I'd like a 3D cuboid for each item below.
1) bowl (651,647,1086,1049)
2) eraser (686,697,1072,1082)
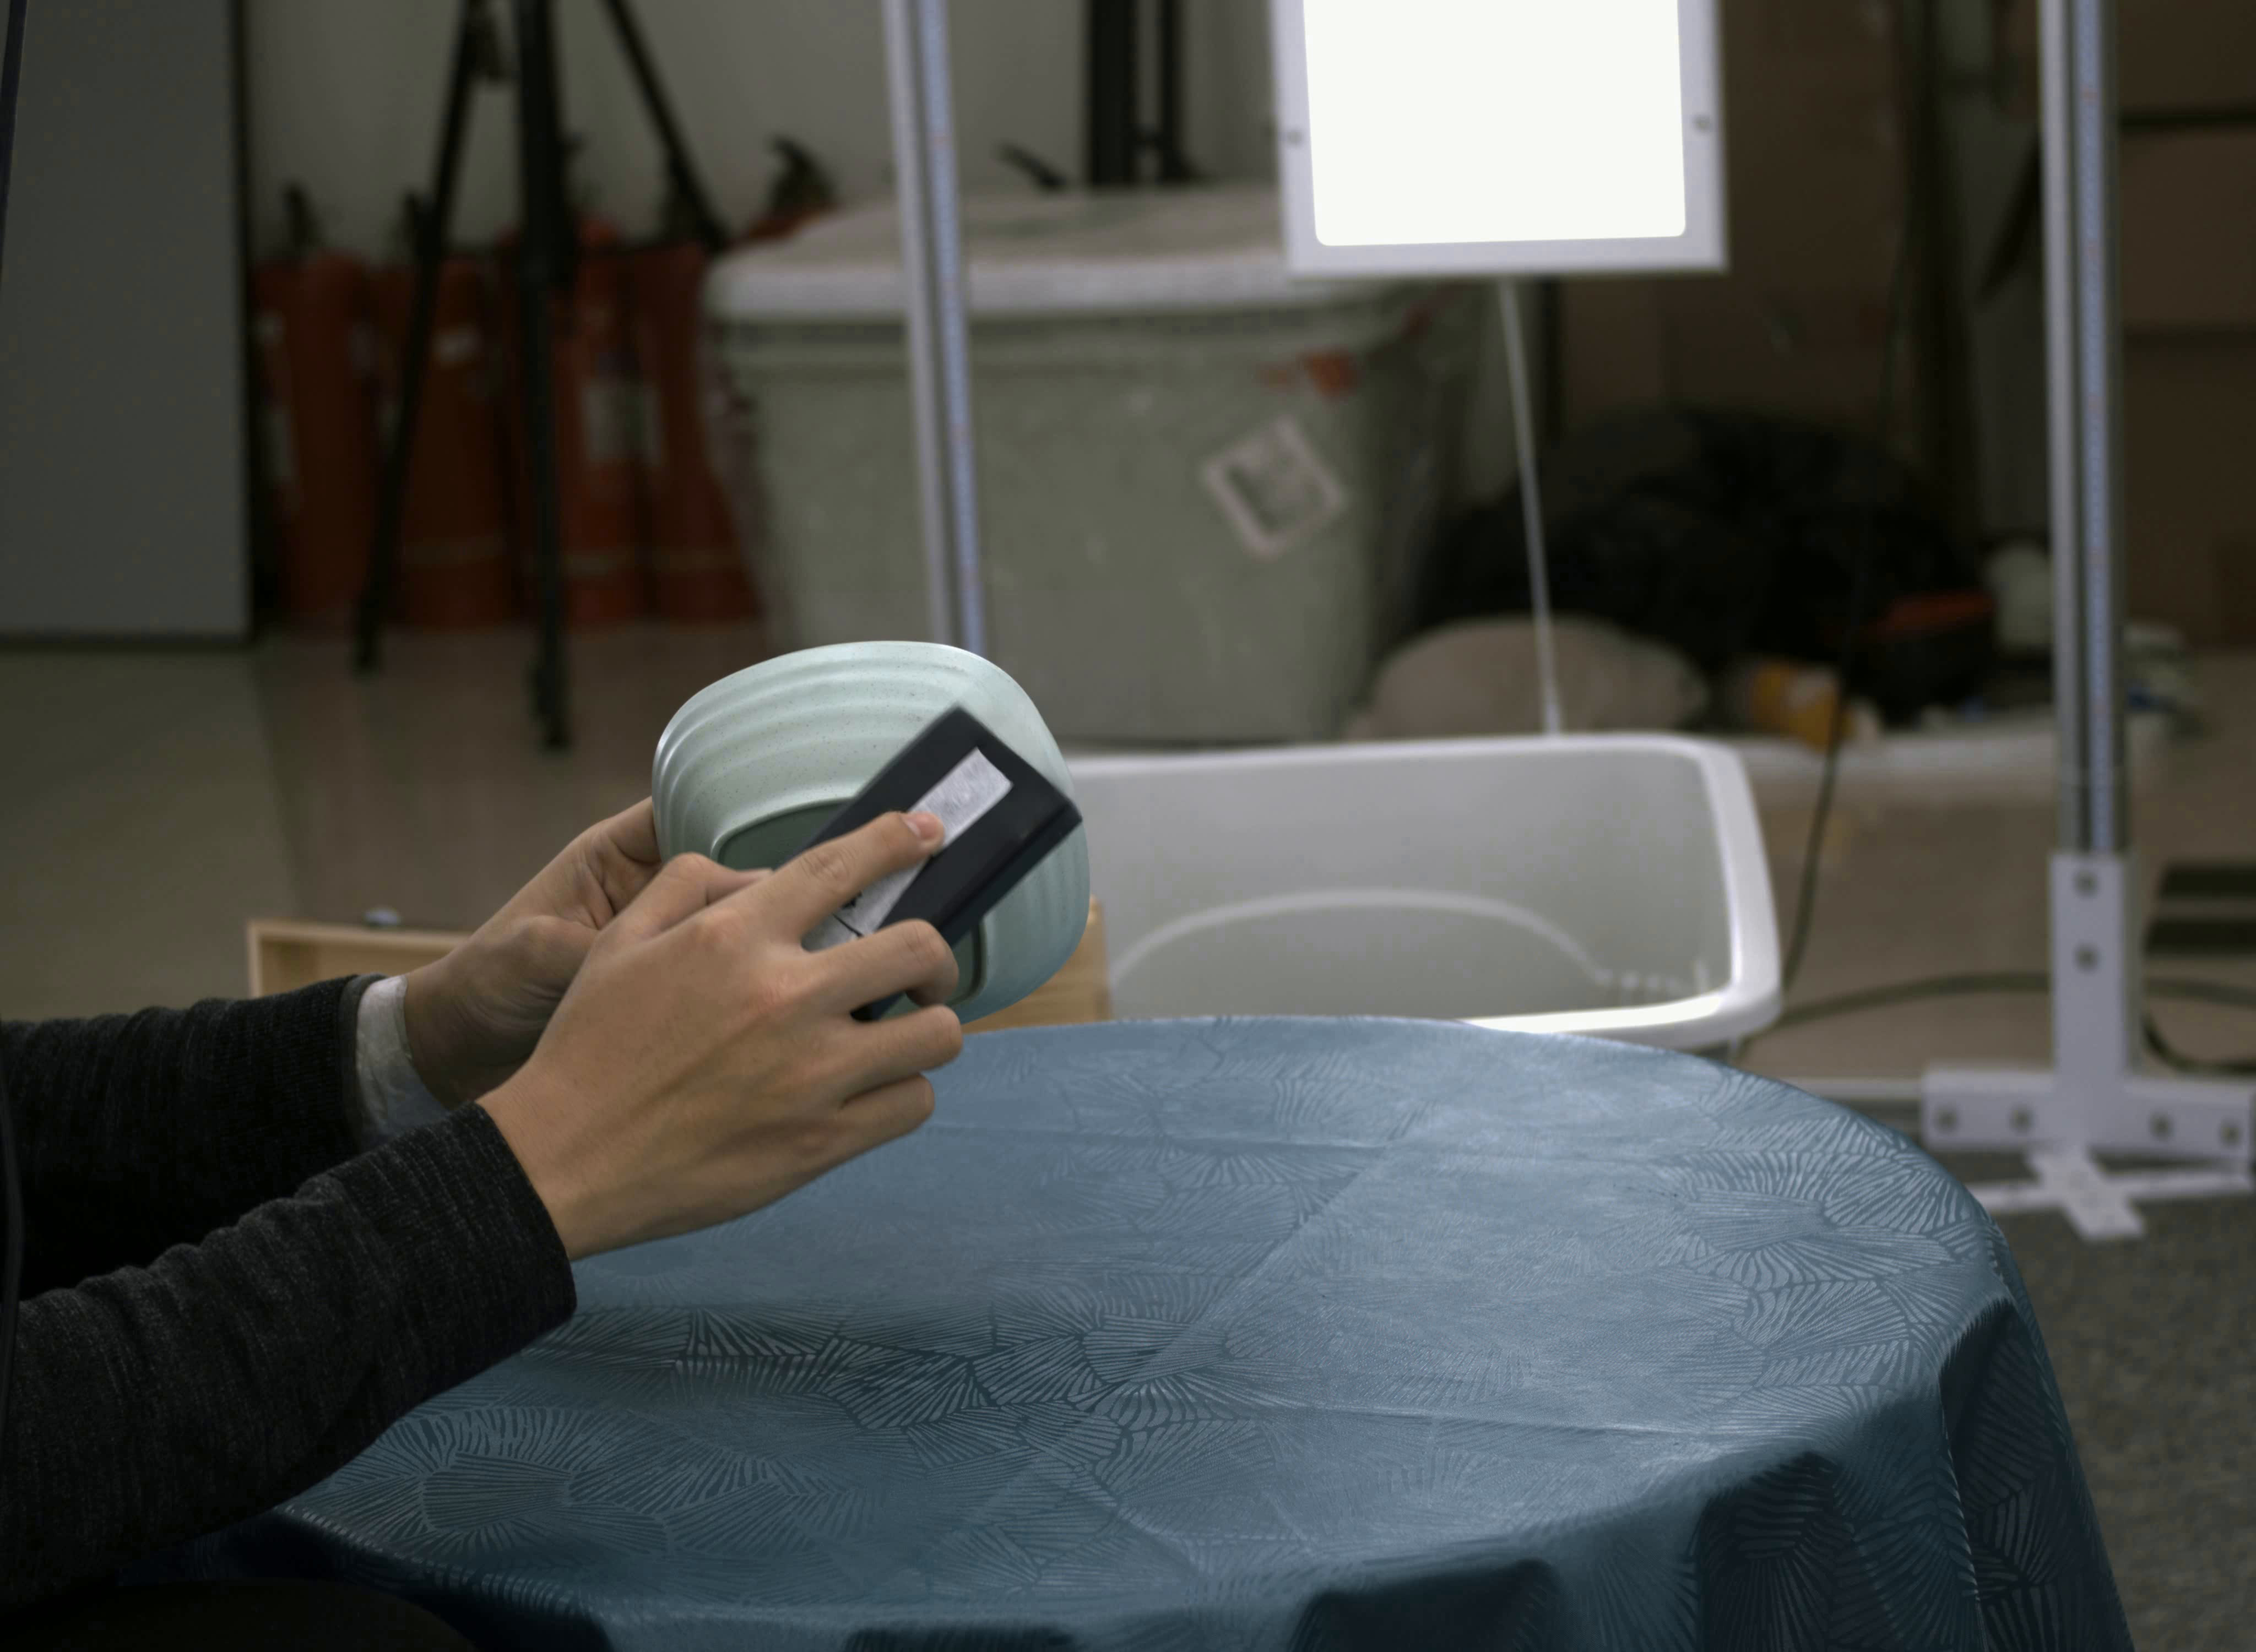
[{"bbox_3d":[-0.087,0.018,1.755,0.152,0.152,0.058,-1,27,11],"label":"bowl"},{"bbox_3d":[-0.075,0.018,1.678,0.054,0.030,0.123,36,65,15],"label":"eraser"}]
